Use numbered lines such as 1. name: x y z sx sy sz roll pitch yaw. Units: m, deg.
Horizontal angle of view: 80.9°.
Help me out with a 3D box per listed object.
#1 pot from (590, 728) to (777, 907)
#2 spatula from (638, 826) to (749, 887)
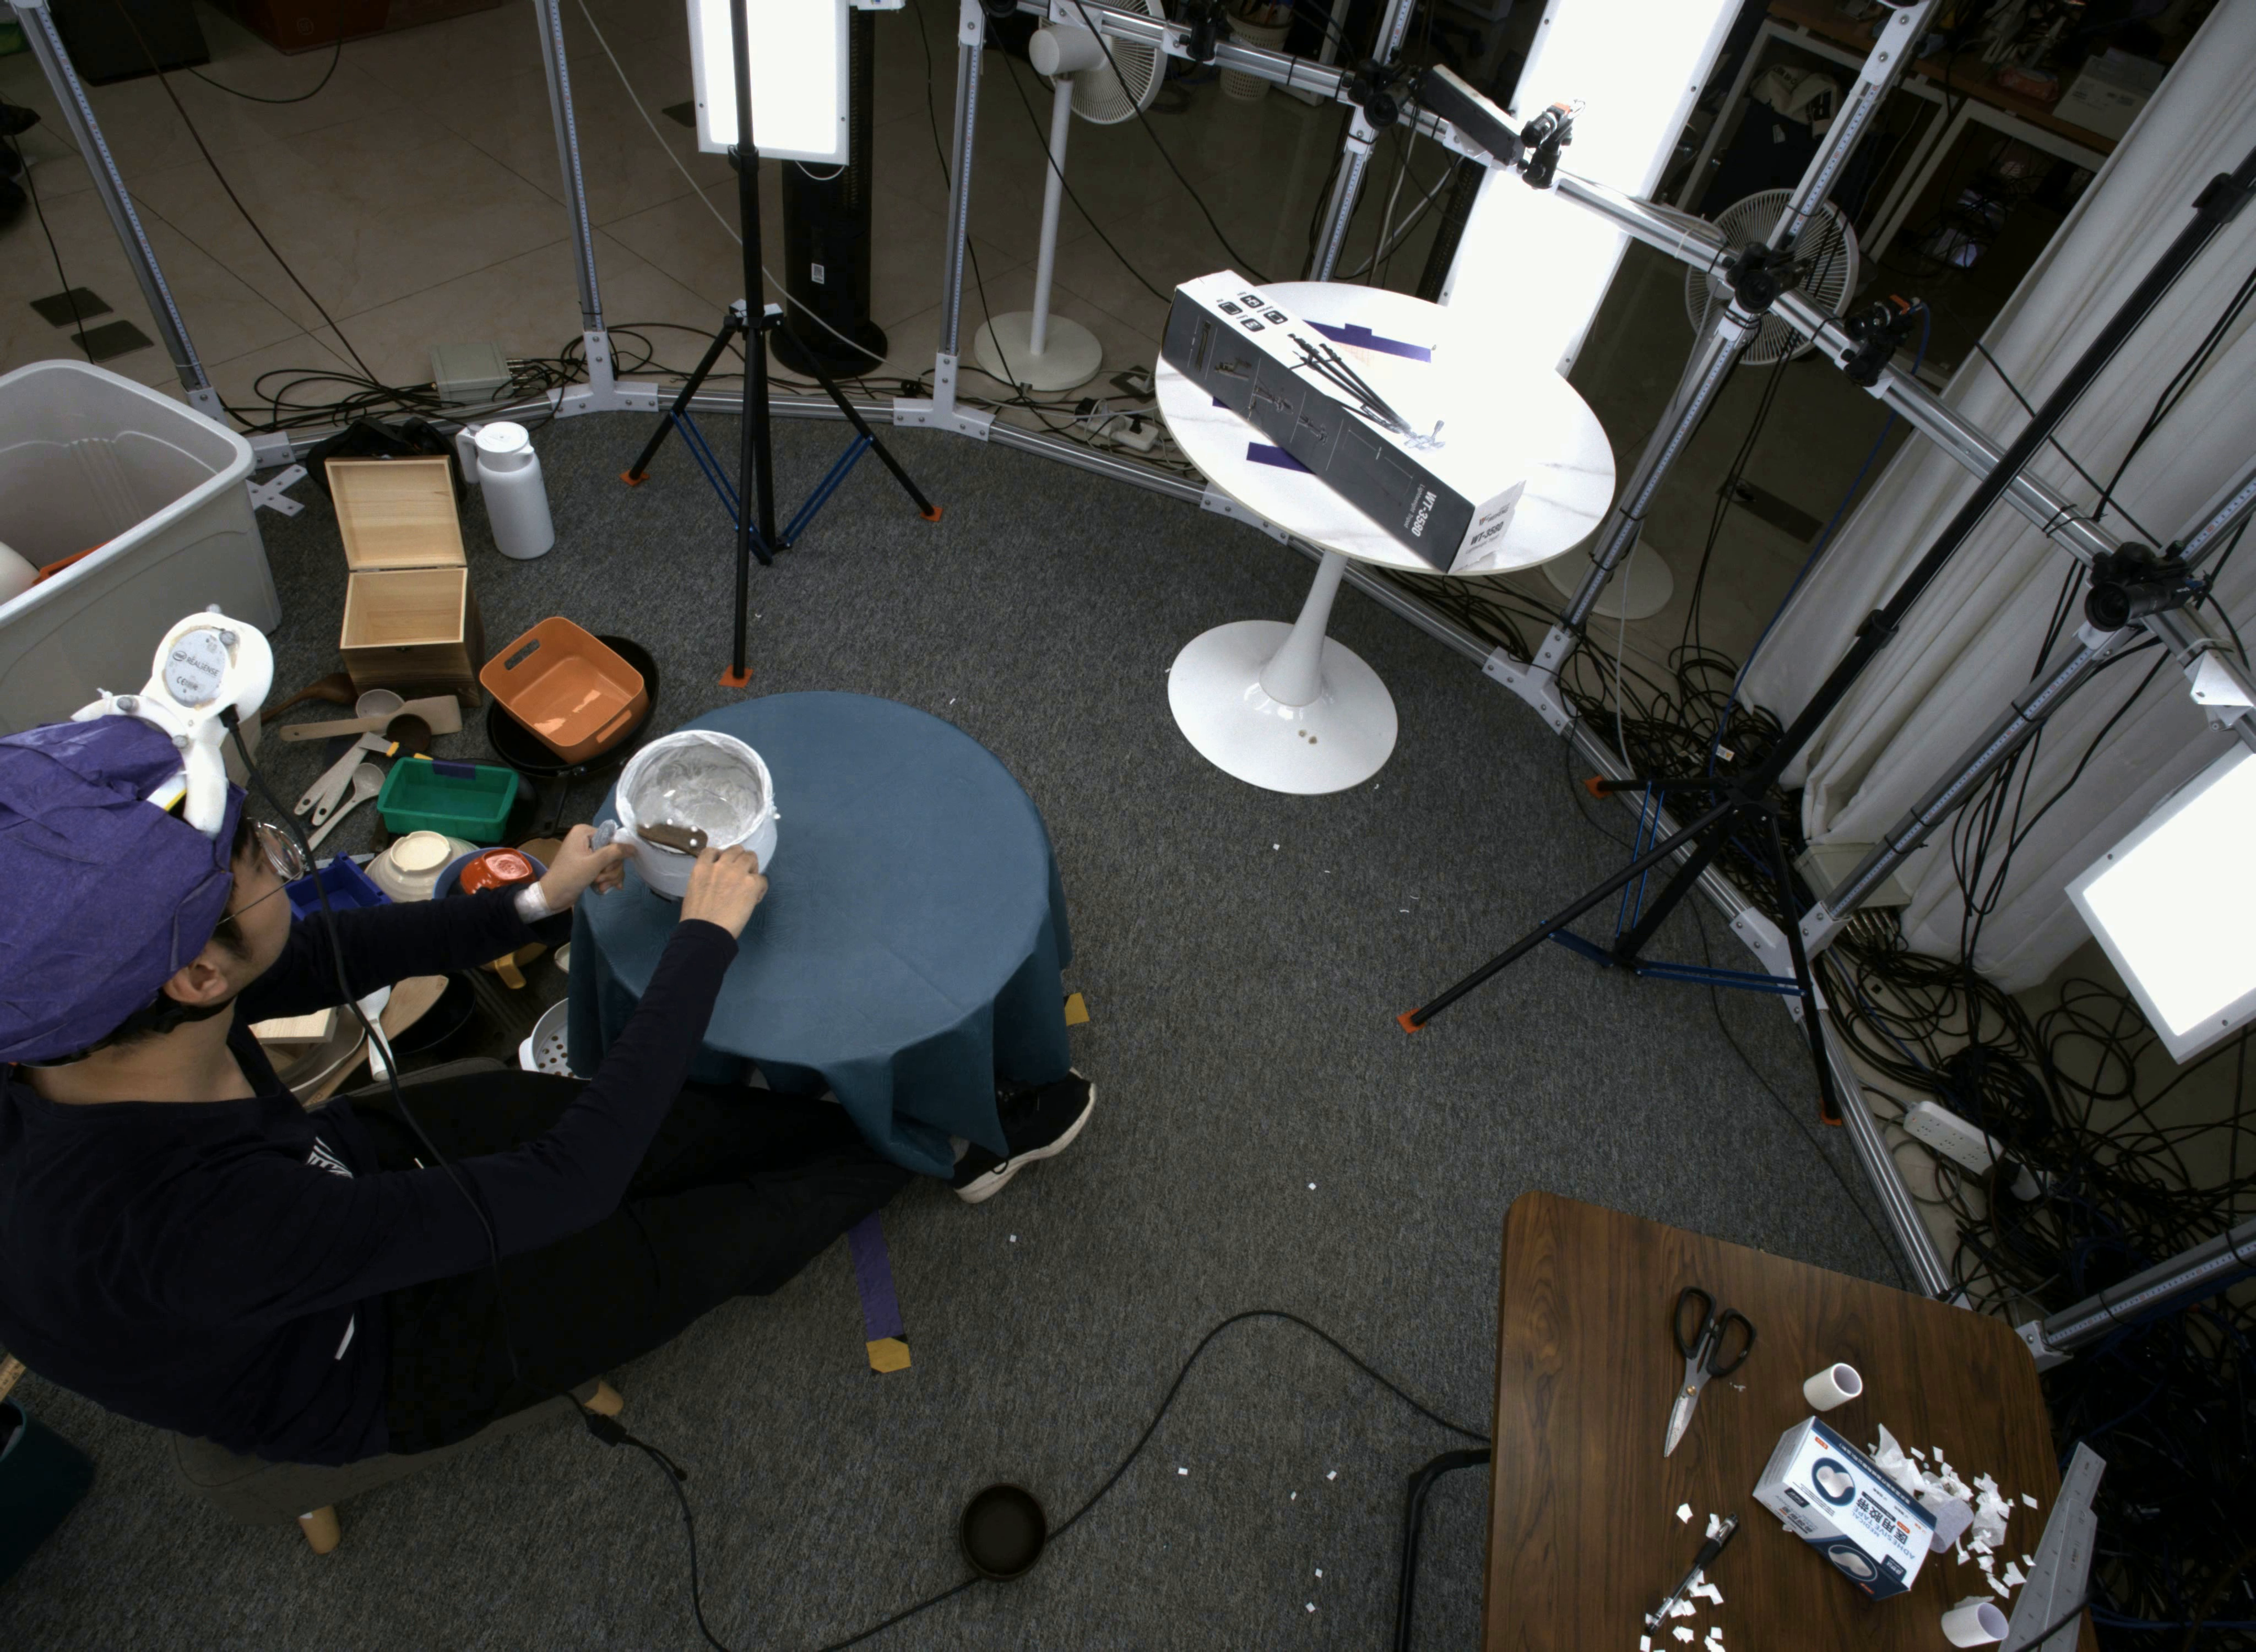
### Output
1. pot: -0.536 0.003 1.536 0.234 0.139 0.174 -27 65 -27
2. spatula: -0.474 0.030 1.416 0.073 0.009 0.207 -7 23 -44
